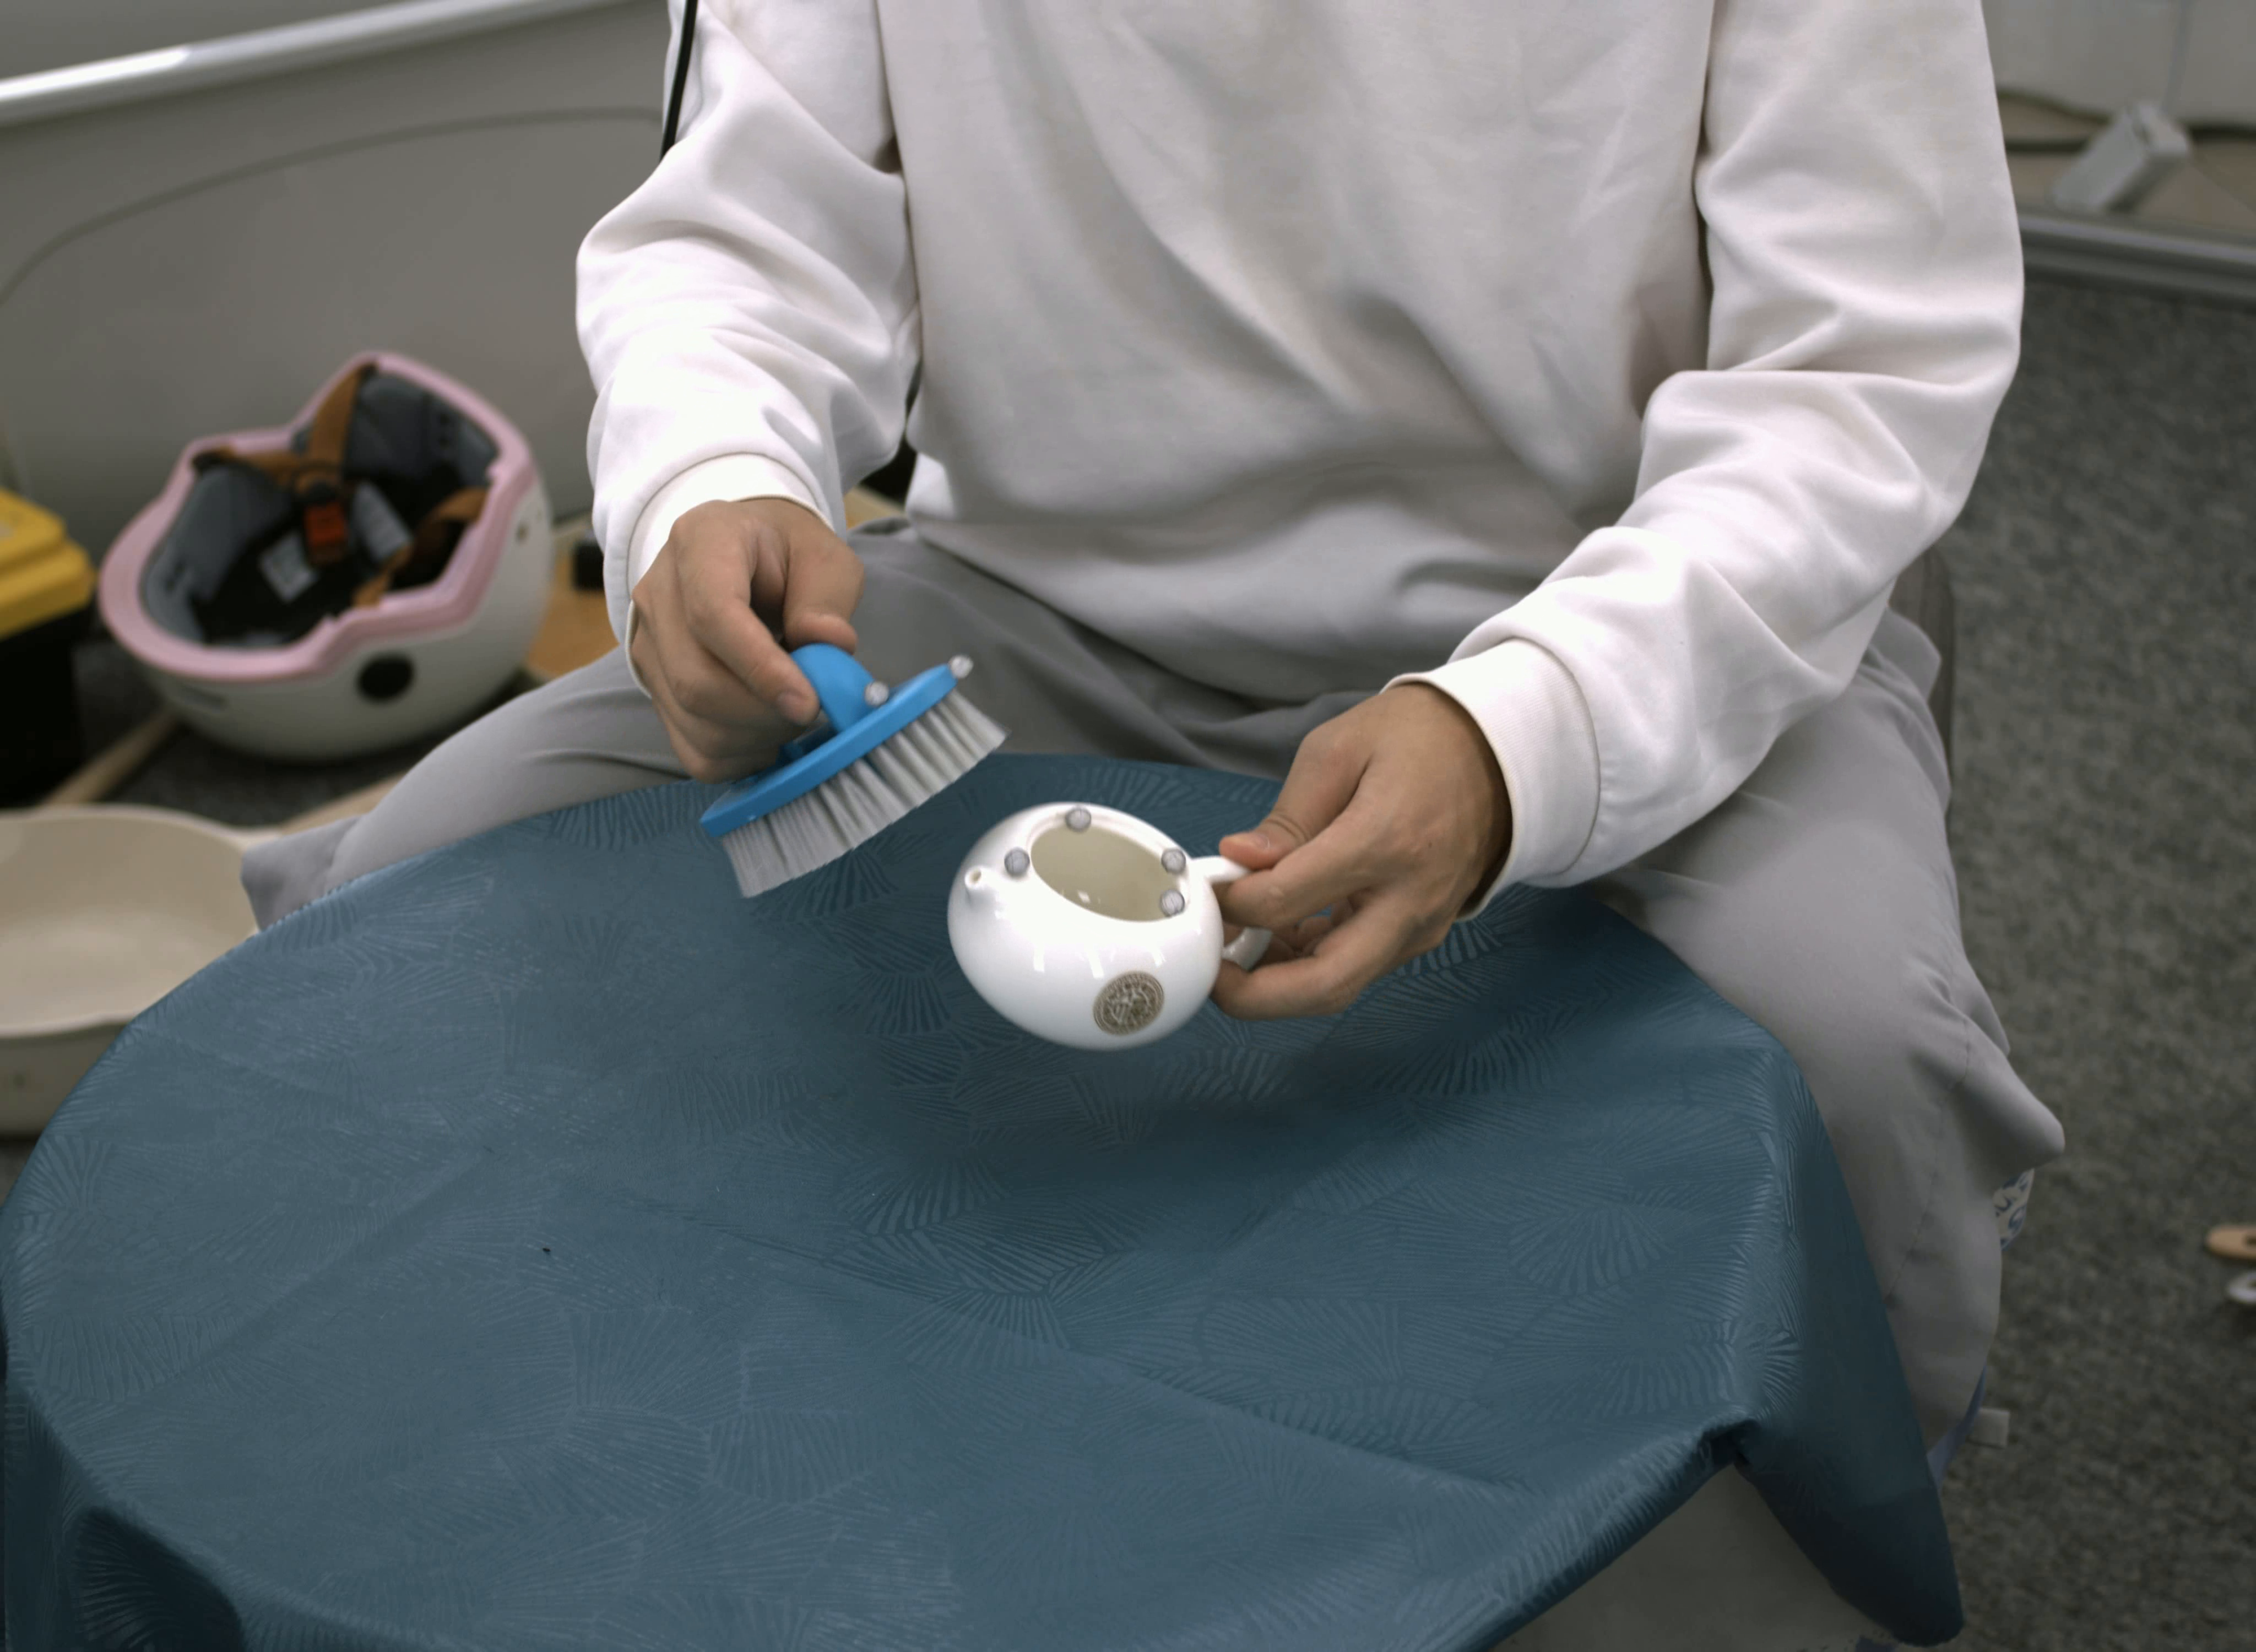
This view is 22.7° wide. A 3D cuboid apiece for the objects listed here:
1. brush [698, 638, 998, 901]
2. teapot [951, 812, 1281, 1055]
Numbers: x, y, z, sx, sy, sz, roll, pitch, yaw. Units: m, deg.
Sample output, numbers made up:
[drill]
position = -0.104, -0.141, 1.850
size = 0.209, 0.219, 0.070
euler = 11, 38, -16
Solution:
[brush]
position = -0.104, -0.027, 1.890
size = 0.085, 0.063, 0.140
euler = -41, 8, -24
[teapot]
position = -0.004, 0.036, 1.871
size = 0.128, 0.056, 0.094
euler = -4, 36, -35
